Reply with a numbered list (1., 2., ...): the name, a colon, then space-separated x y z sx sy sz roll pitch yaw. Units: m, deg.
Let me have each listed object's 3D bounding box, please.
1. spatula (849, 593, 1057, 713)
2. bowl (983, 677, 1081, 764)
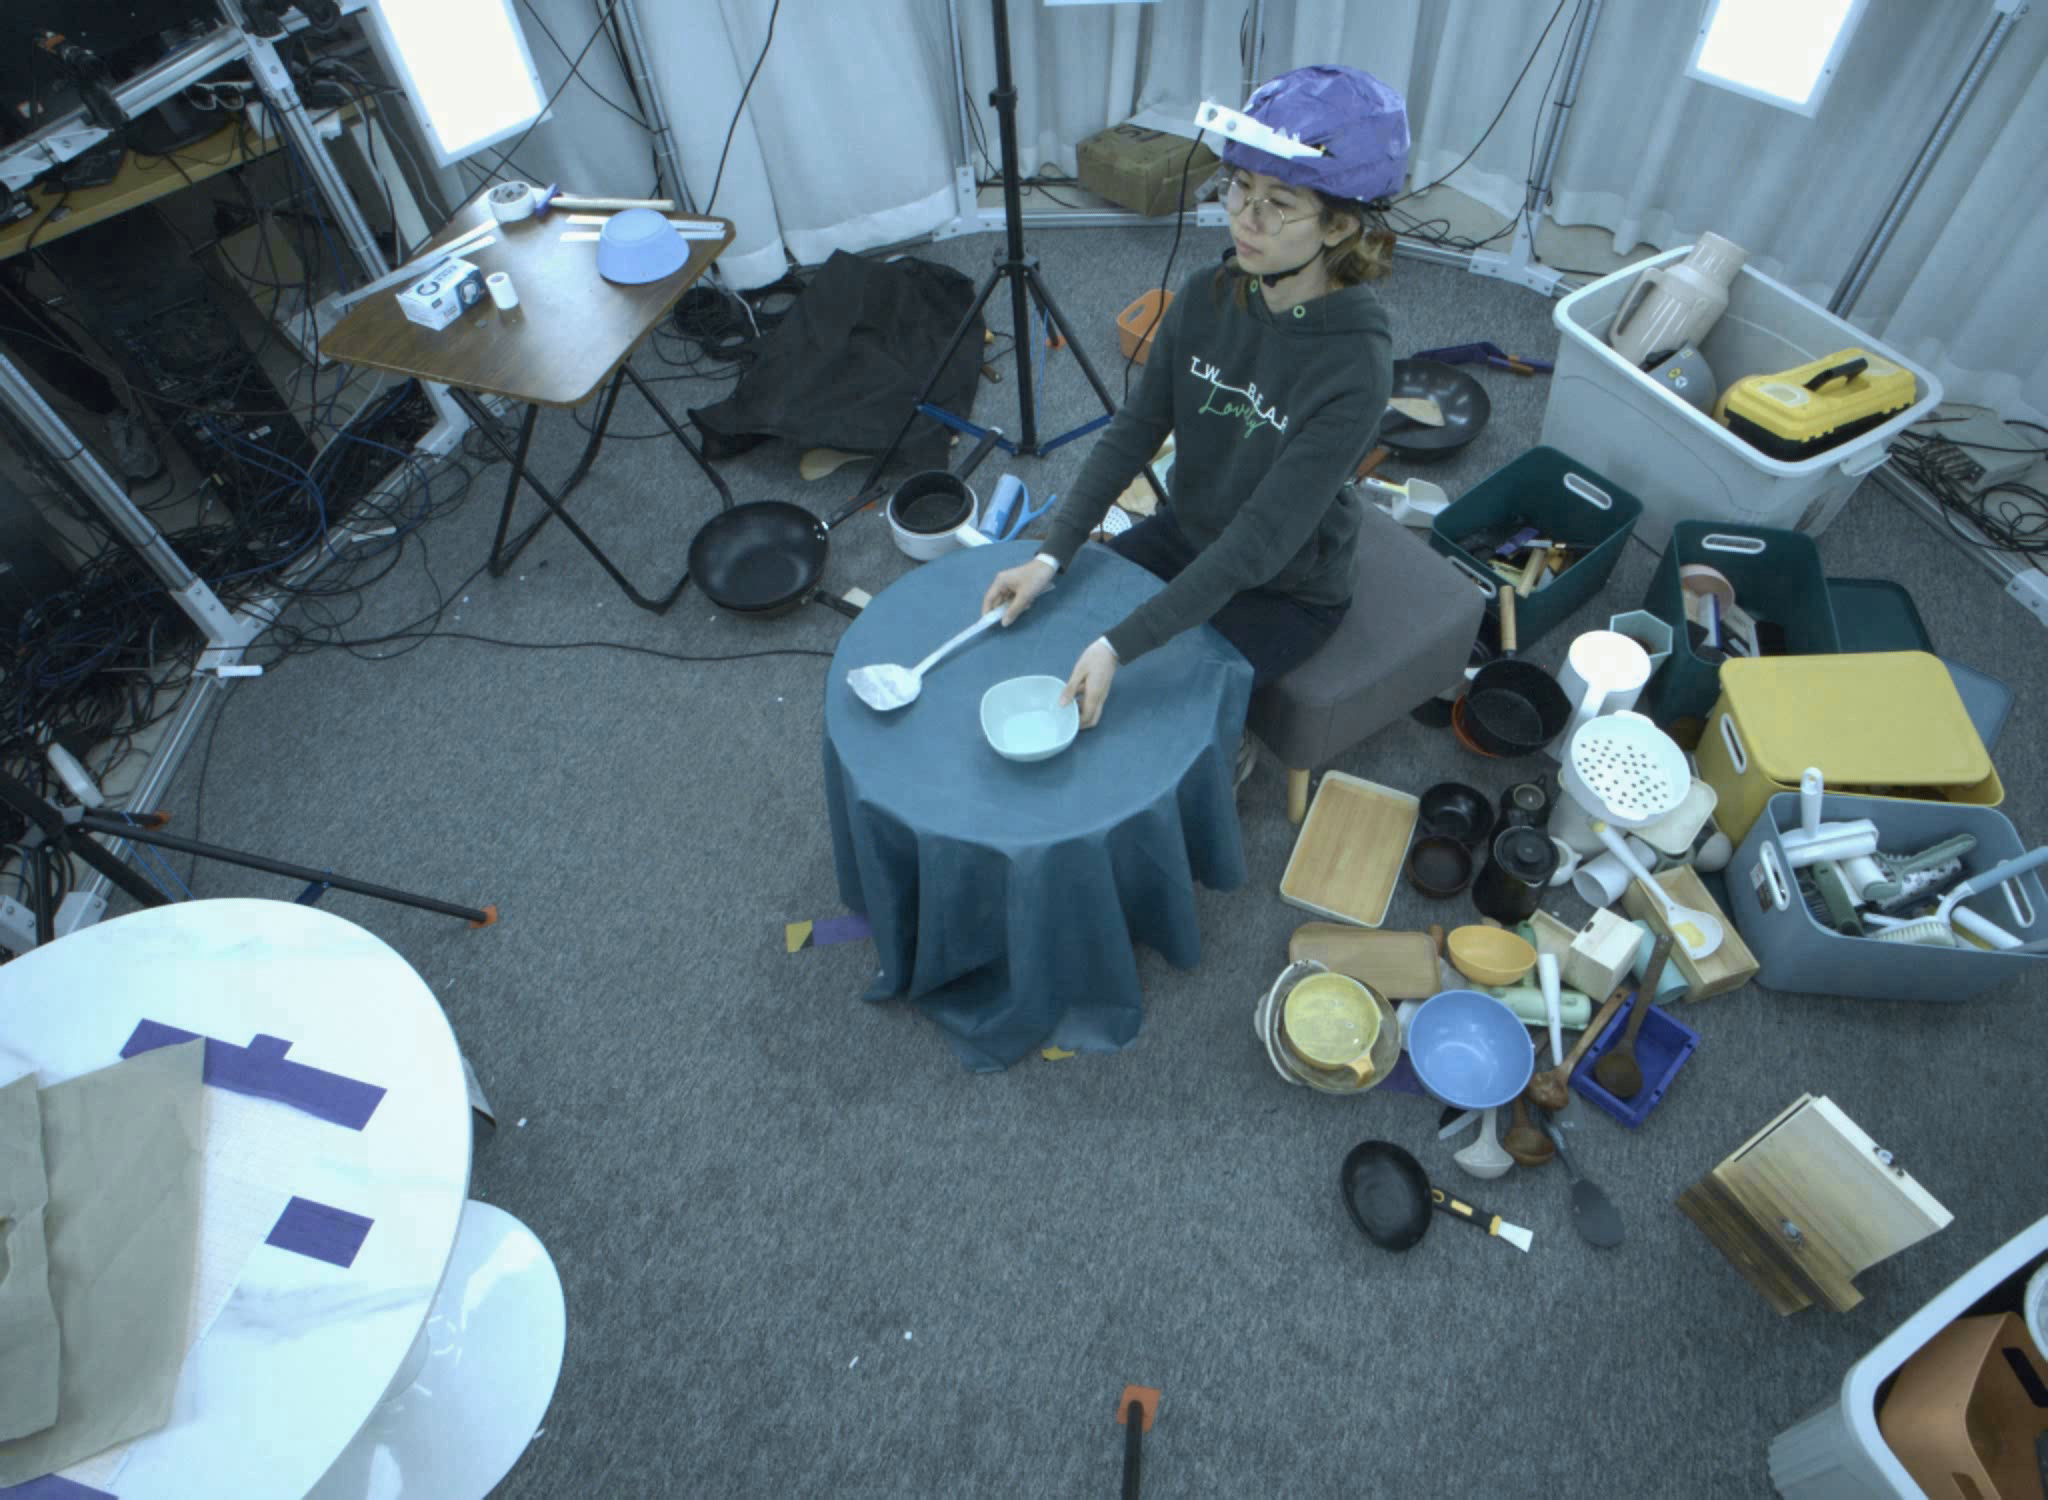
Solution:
1. spatula: -0.100 -0.164 1.887 0.367 0.045 0.097 -35 60 -18
2. bowl: 0.013 -0.032 1.786 0.151 0.059 0.150 -1 58 2
